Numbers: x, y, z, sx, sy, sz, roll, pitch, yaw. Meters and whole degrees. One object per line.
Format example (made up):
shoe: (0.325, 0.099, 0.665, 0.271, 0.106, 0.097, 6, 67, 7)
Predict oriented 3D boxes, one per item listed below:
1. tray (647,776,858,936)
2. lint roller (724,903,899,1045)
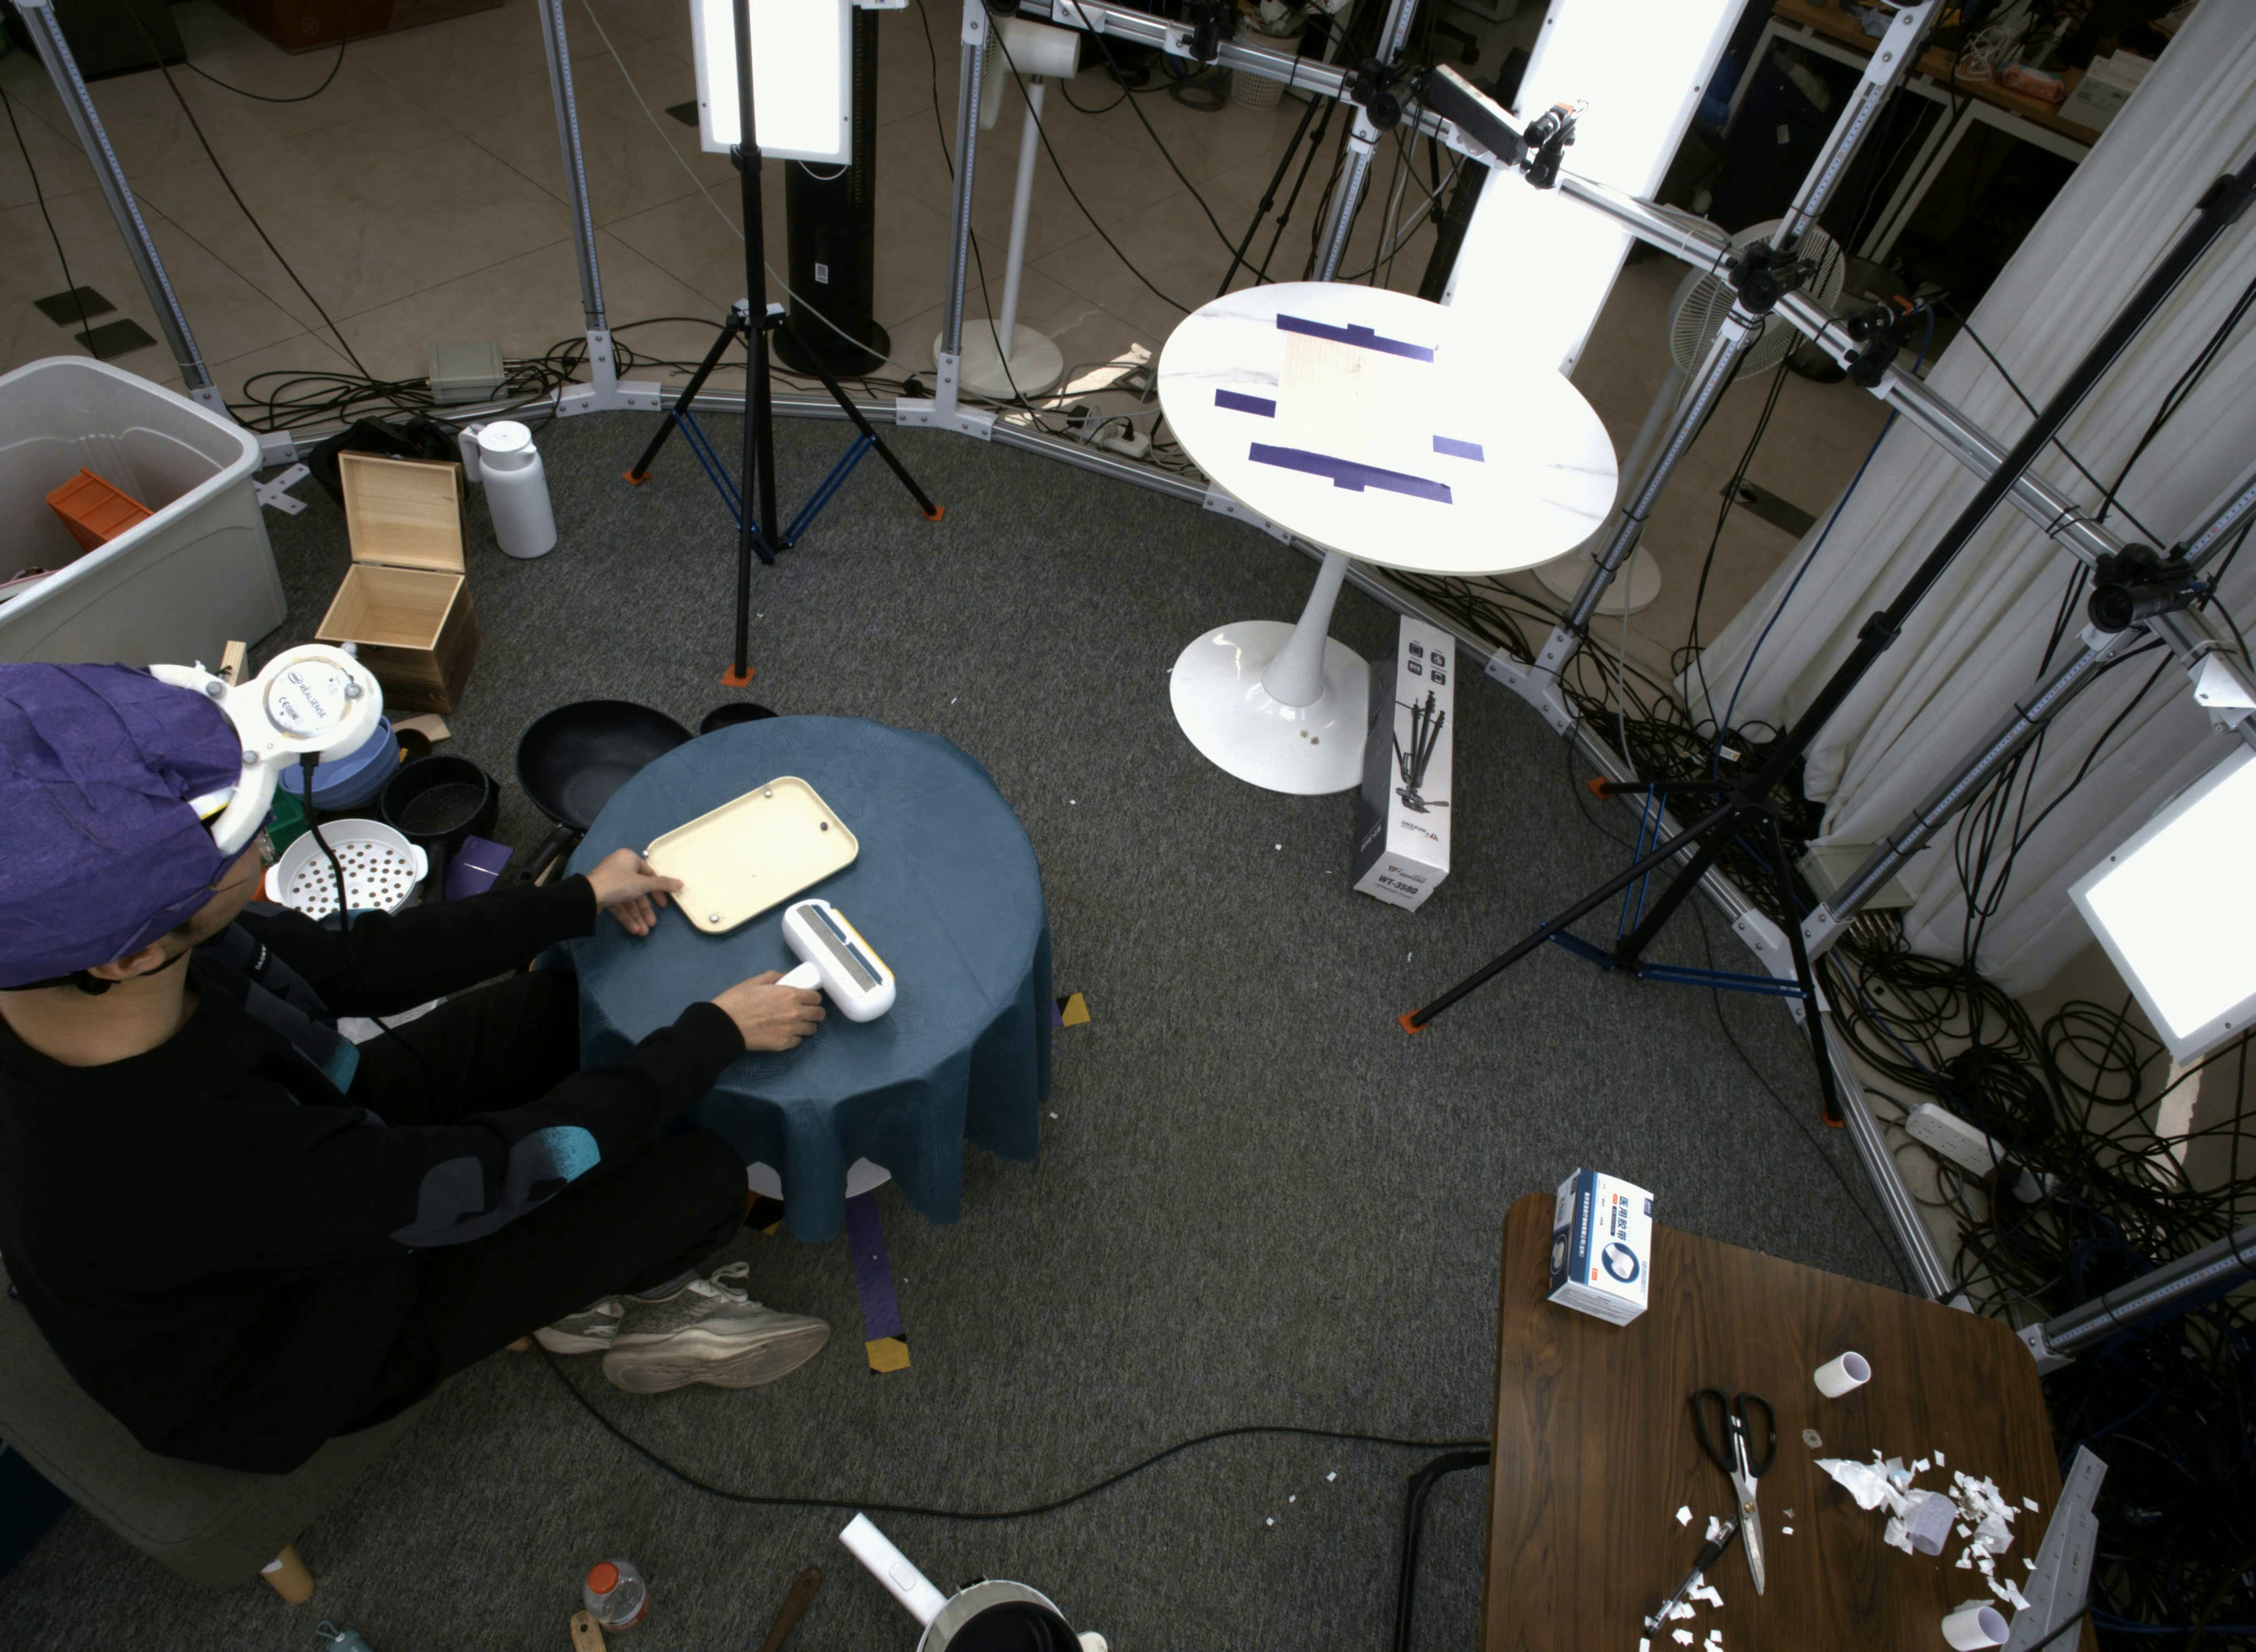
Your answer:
tray: (-0.485, 0.035, 1.676, 0.240, 0.018, 0.167, -32, 68, -32)
lint roller: (-0.395, 0.192, 1.552, 0.193, 0.076, 0.187, -26, 58, -28)
